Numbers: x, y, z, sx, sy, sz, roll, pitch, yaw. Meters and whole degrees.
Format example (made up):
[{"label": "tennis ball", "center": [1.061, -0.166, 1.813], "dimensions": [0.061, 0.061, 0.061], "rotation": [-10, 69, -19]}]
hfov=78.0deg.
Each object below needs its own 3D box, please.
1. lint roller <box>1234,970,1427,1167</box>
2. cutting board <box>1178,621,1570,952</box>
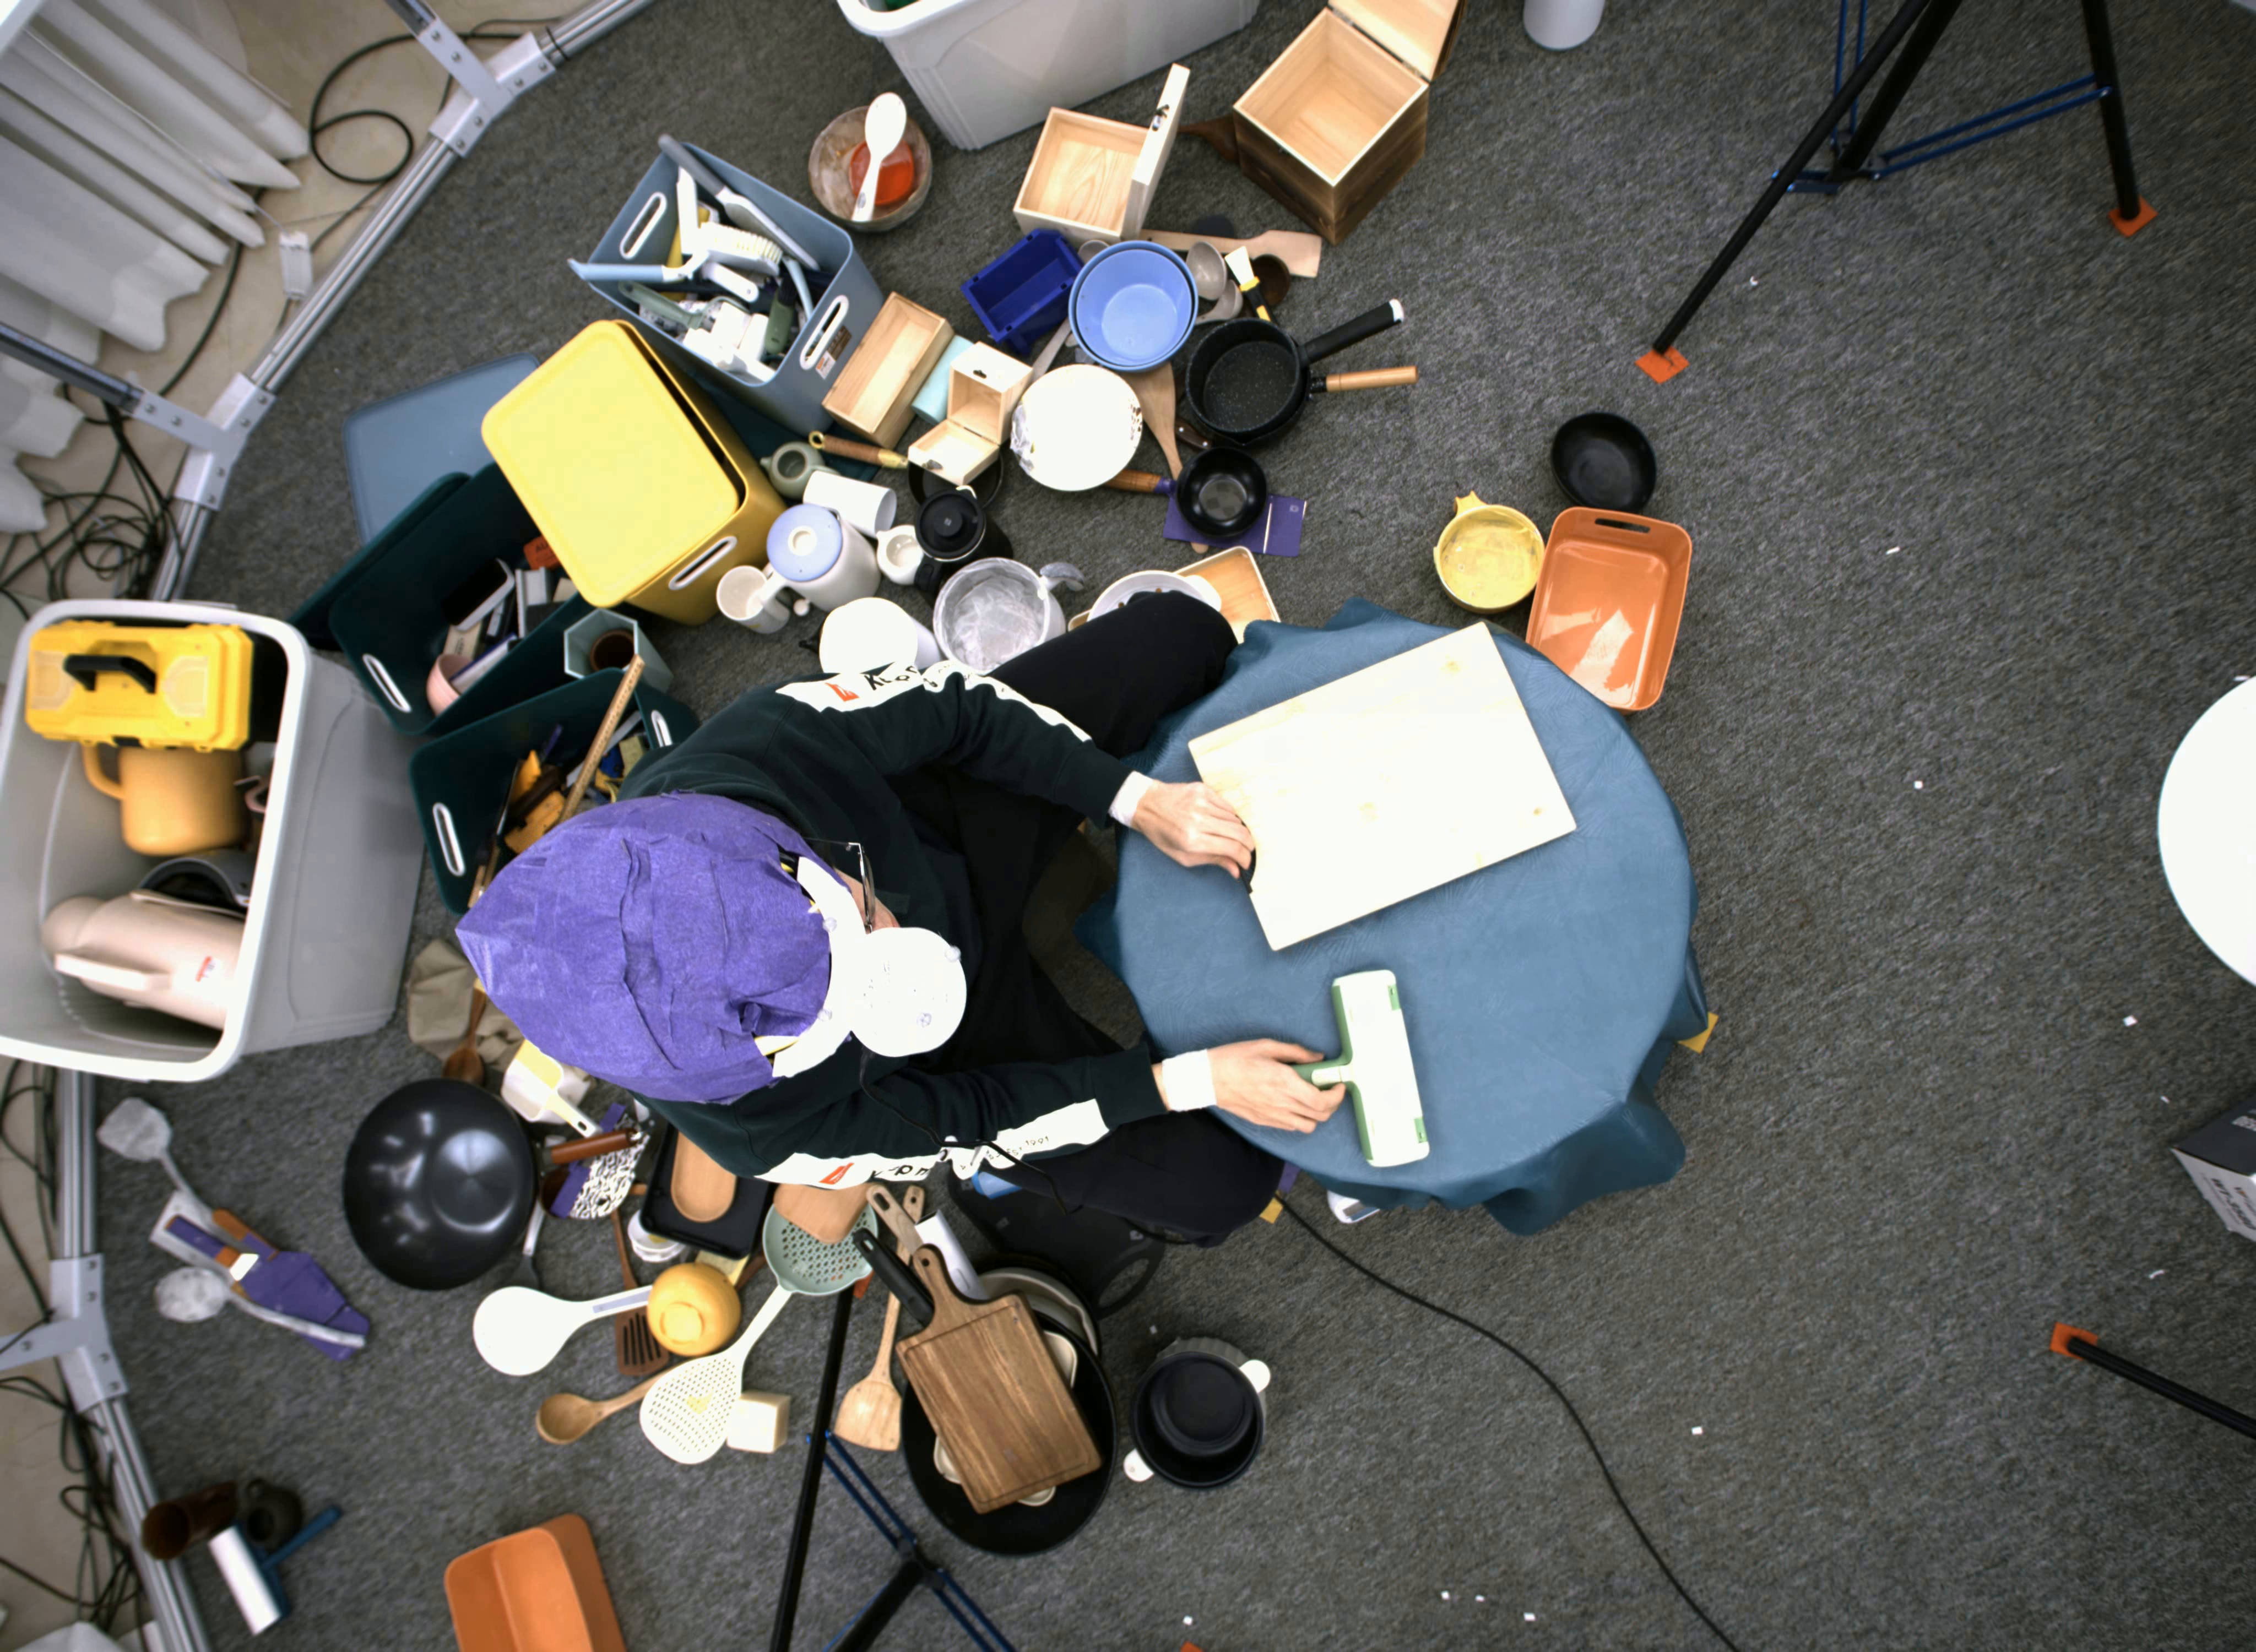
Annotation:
[{"label": "lint roller", "center": [0.199, 0.256, 1.420], "dimensions": [0.184, 0.082, 0.197], "rotation": [-11, 85, 5]}, {"label": "cutting board", "center": [0.258, -0.043, 1.443], "dimensions": [0.350, 0.023, 0.249], "rotation": [-23, 83, 4]}]
